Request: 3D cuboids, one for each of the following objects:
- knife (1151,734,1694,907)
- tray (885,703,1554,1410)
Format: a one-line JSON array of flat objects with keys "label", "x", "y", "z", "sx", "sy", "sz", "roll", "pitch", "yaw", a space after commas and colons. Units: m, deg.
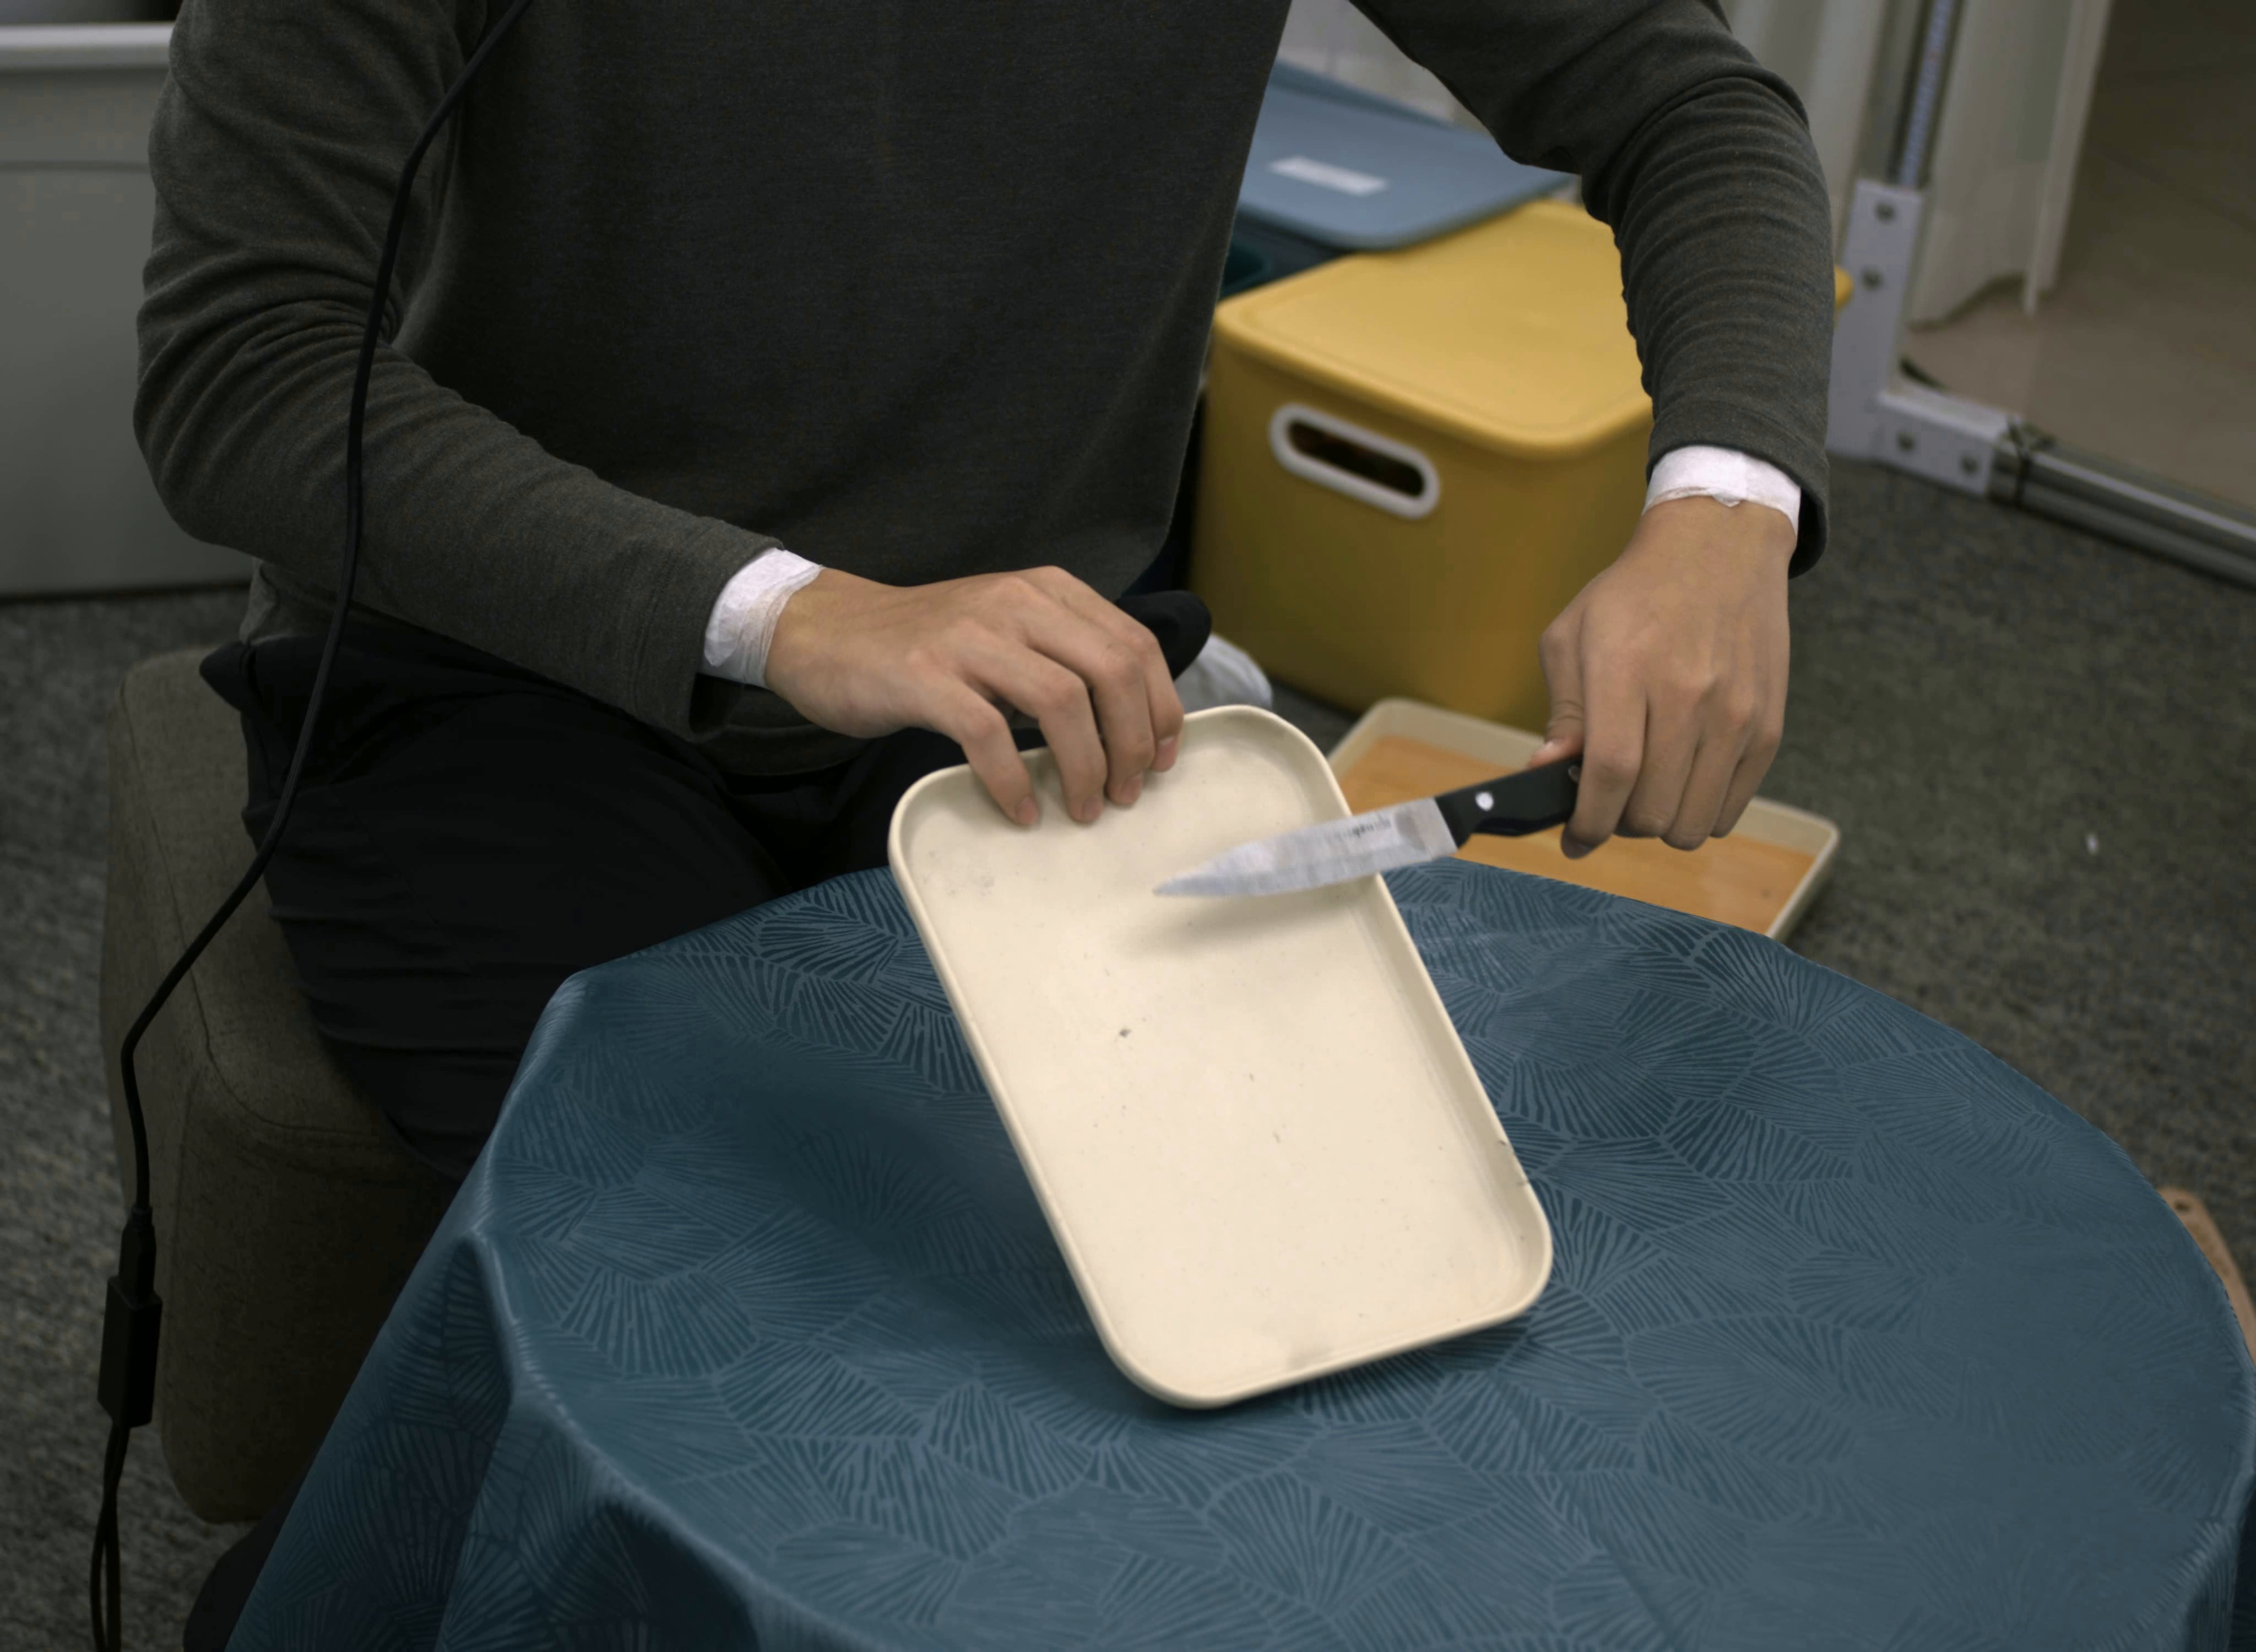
[{"label": "knife", "x": 0.102, "y": -0.002, "z": 1.825, "sx": 0.237, "sy": 0.016, "sz": 0.024, "roll": -14, "pitch": 70, "yaw": -34}, {"label": "tray", "x": 0.028, "y": 0.074, "z": 1.757, "sx": 0.170, "sy": 0.017, "sz": 0.241, "roll": -13, "pitch": 65, "yaw": -27}]
